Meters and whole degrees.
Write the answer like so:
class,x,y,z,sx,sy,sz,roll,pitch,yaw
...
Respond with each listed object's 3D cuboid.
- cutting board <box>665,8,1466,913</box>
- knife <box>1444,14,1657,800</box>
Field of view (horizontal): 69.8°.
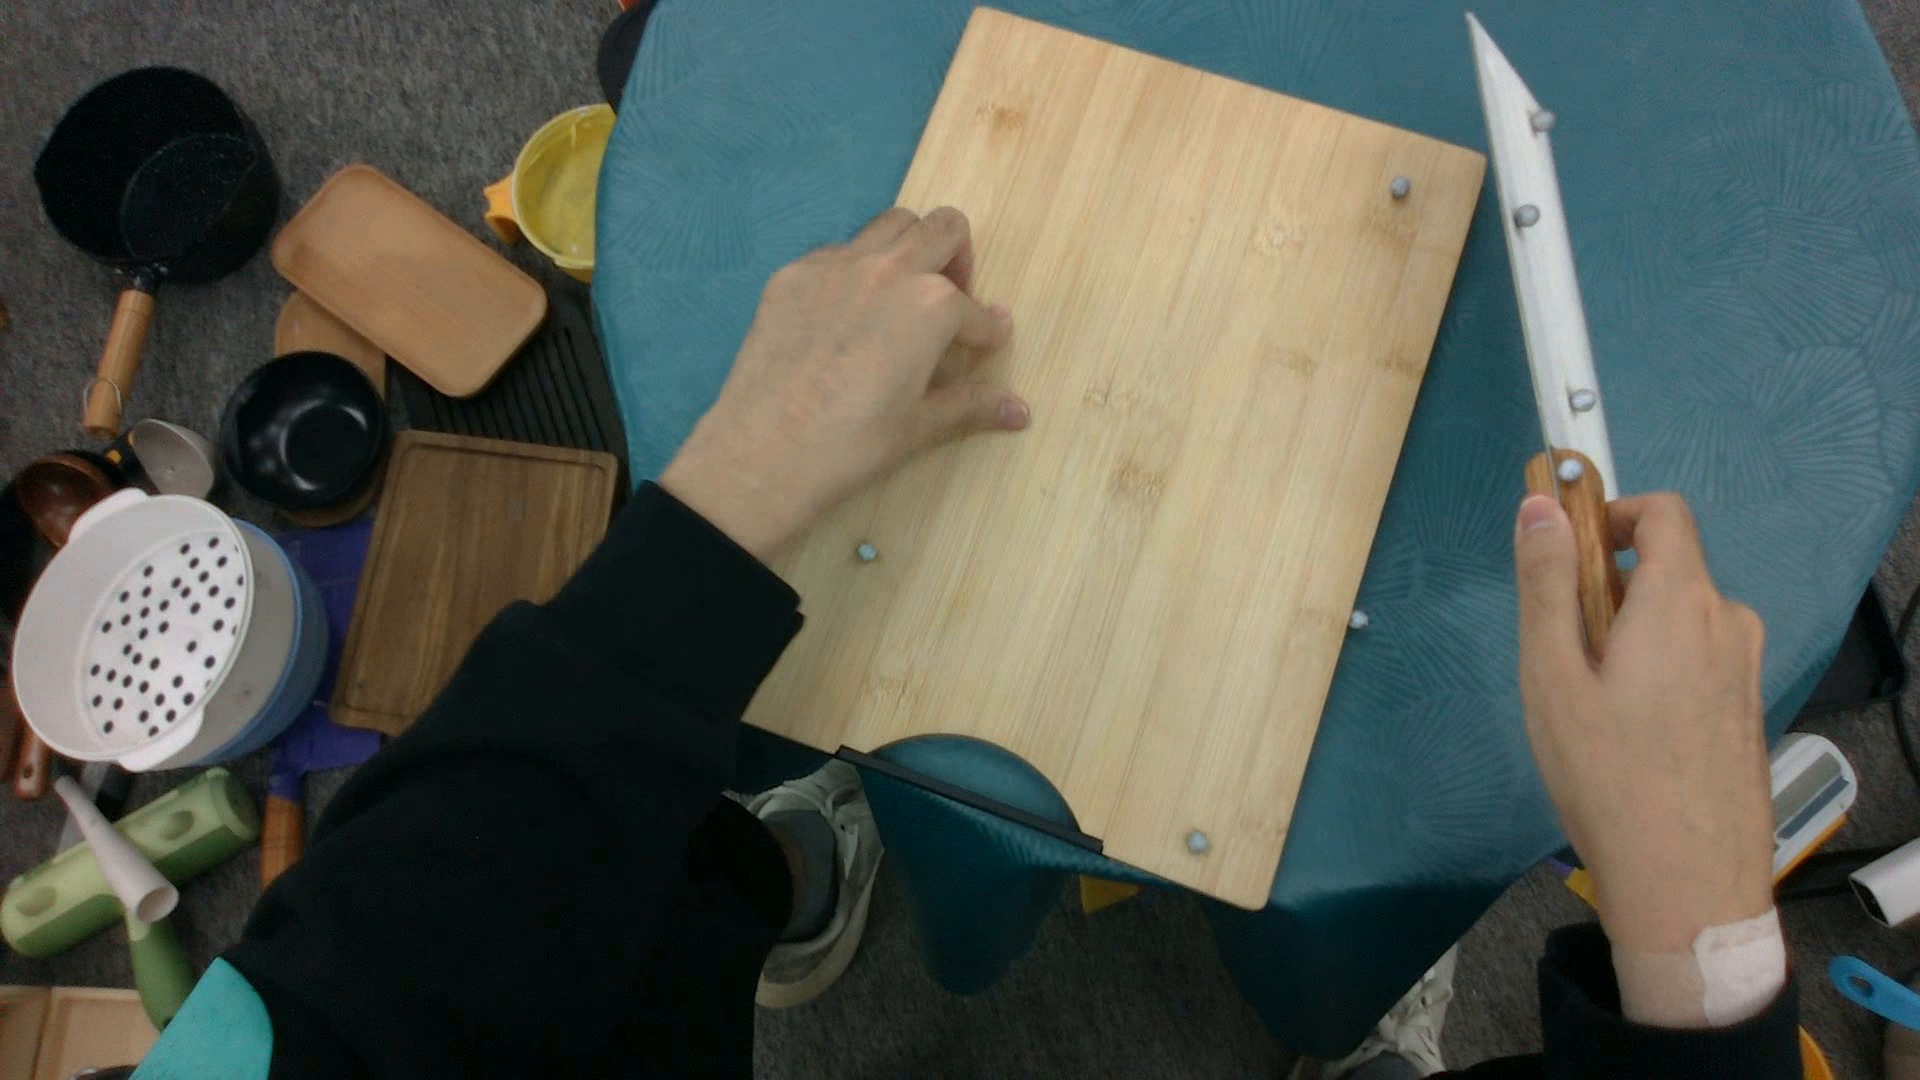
class,x,y,z,sx,sy,sz,roll,pitch,yaw
cutting board,0.054,-0.049,0.590,0.250,0.023,0.349,18,76,7
knife,0.223,-0.055,0.518,0.021,0.093,0.306,-17,67,36
